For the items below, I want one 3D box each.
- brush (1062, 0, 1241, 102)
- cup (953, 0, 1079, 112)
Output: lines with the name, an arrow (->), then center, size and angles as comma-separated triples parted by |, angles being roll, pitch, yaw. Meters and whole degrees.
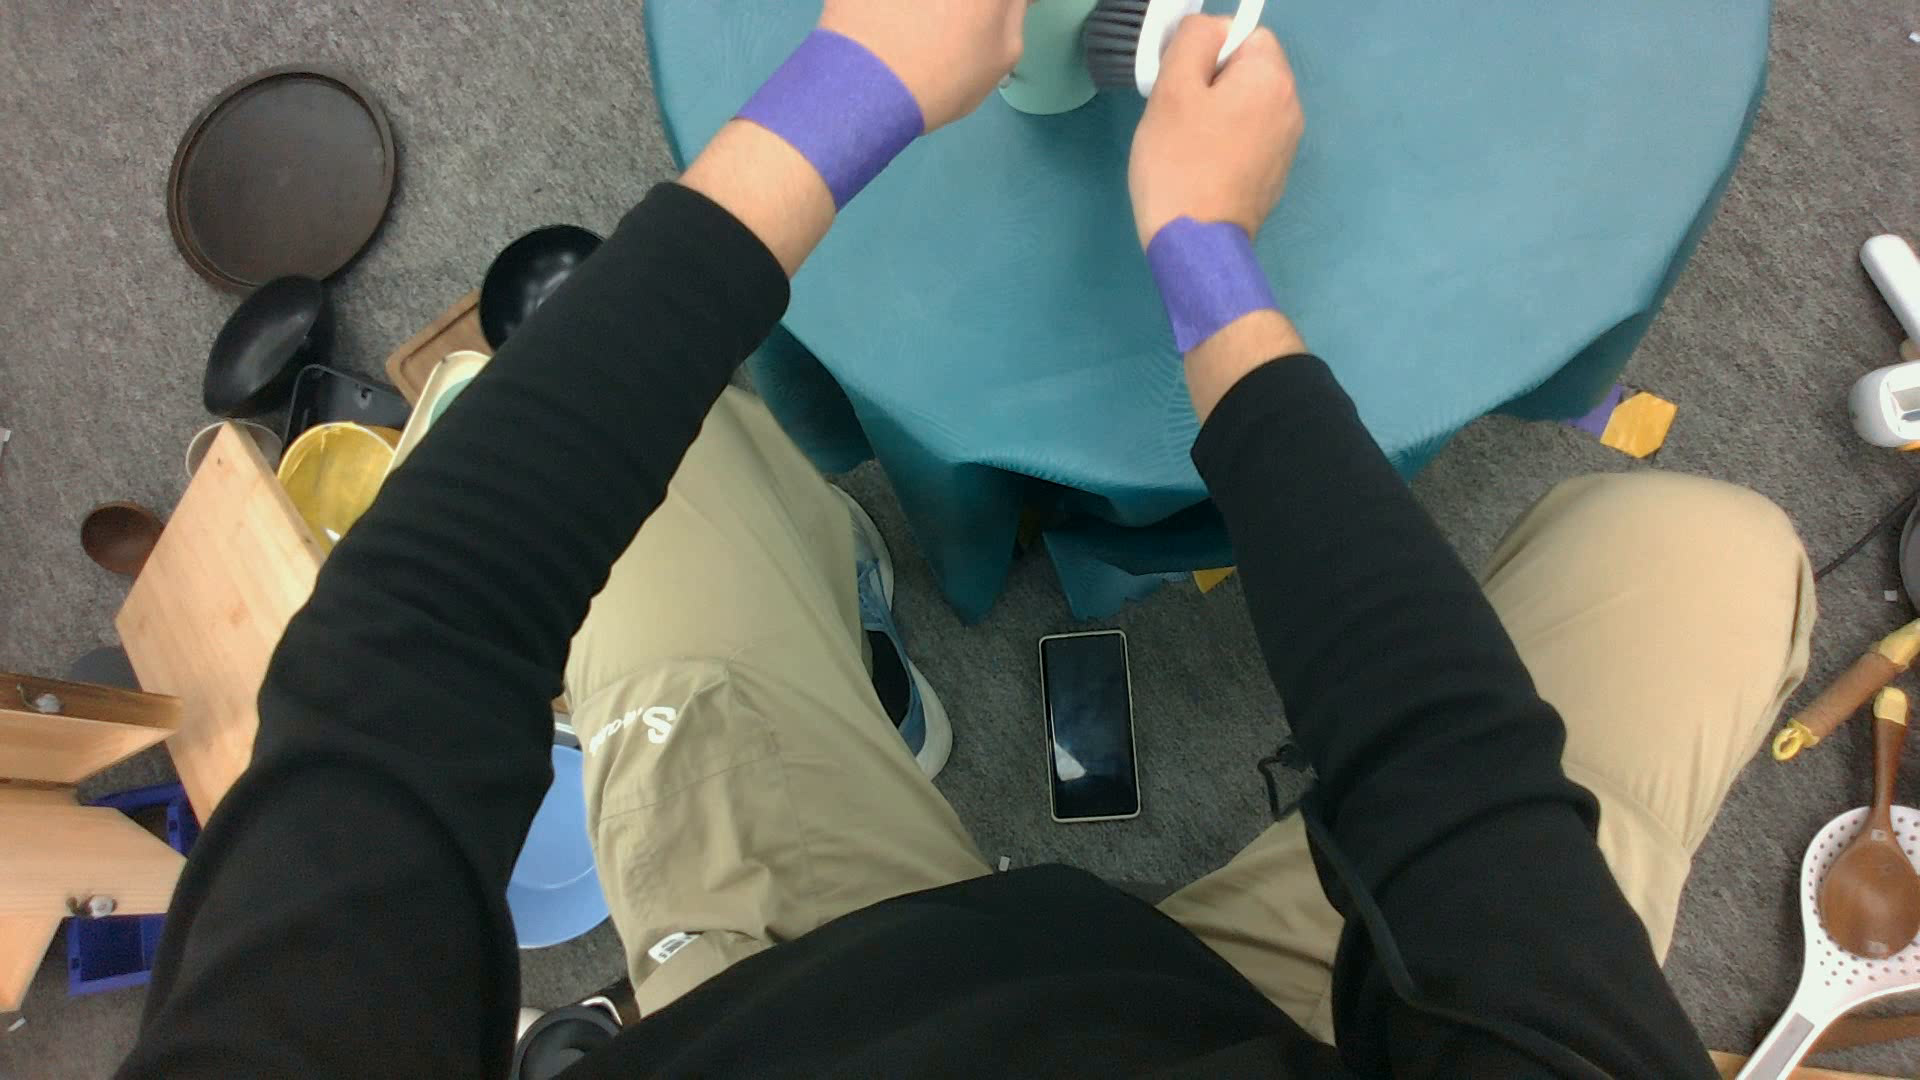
brush -> 0.098, -0.261, 0.670 | 0.072, 0.050, 0.099 | 16, 81, 19
cup -> 0.030, -0.272, 0.688 | 0.067, 0.132, 0.067 | -1, 81, 6
